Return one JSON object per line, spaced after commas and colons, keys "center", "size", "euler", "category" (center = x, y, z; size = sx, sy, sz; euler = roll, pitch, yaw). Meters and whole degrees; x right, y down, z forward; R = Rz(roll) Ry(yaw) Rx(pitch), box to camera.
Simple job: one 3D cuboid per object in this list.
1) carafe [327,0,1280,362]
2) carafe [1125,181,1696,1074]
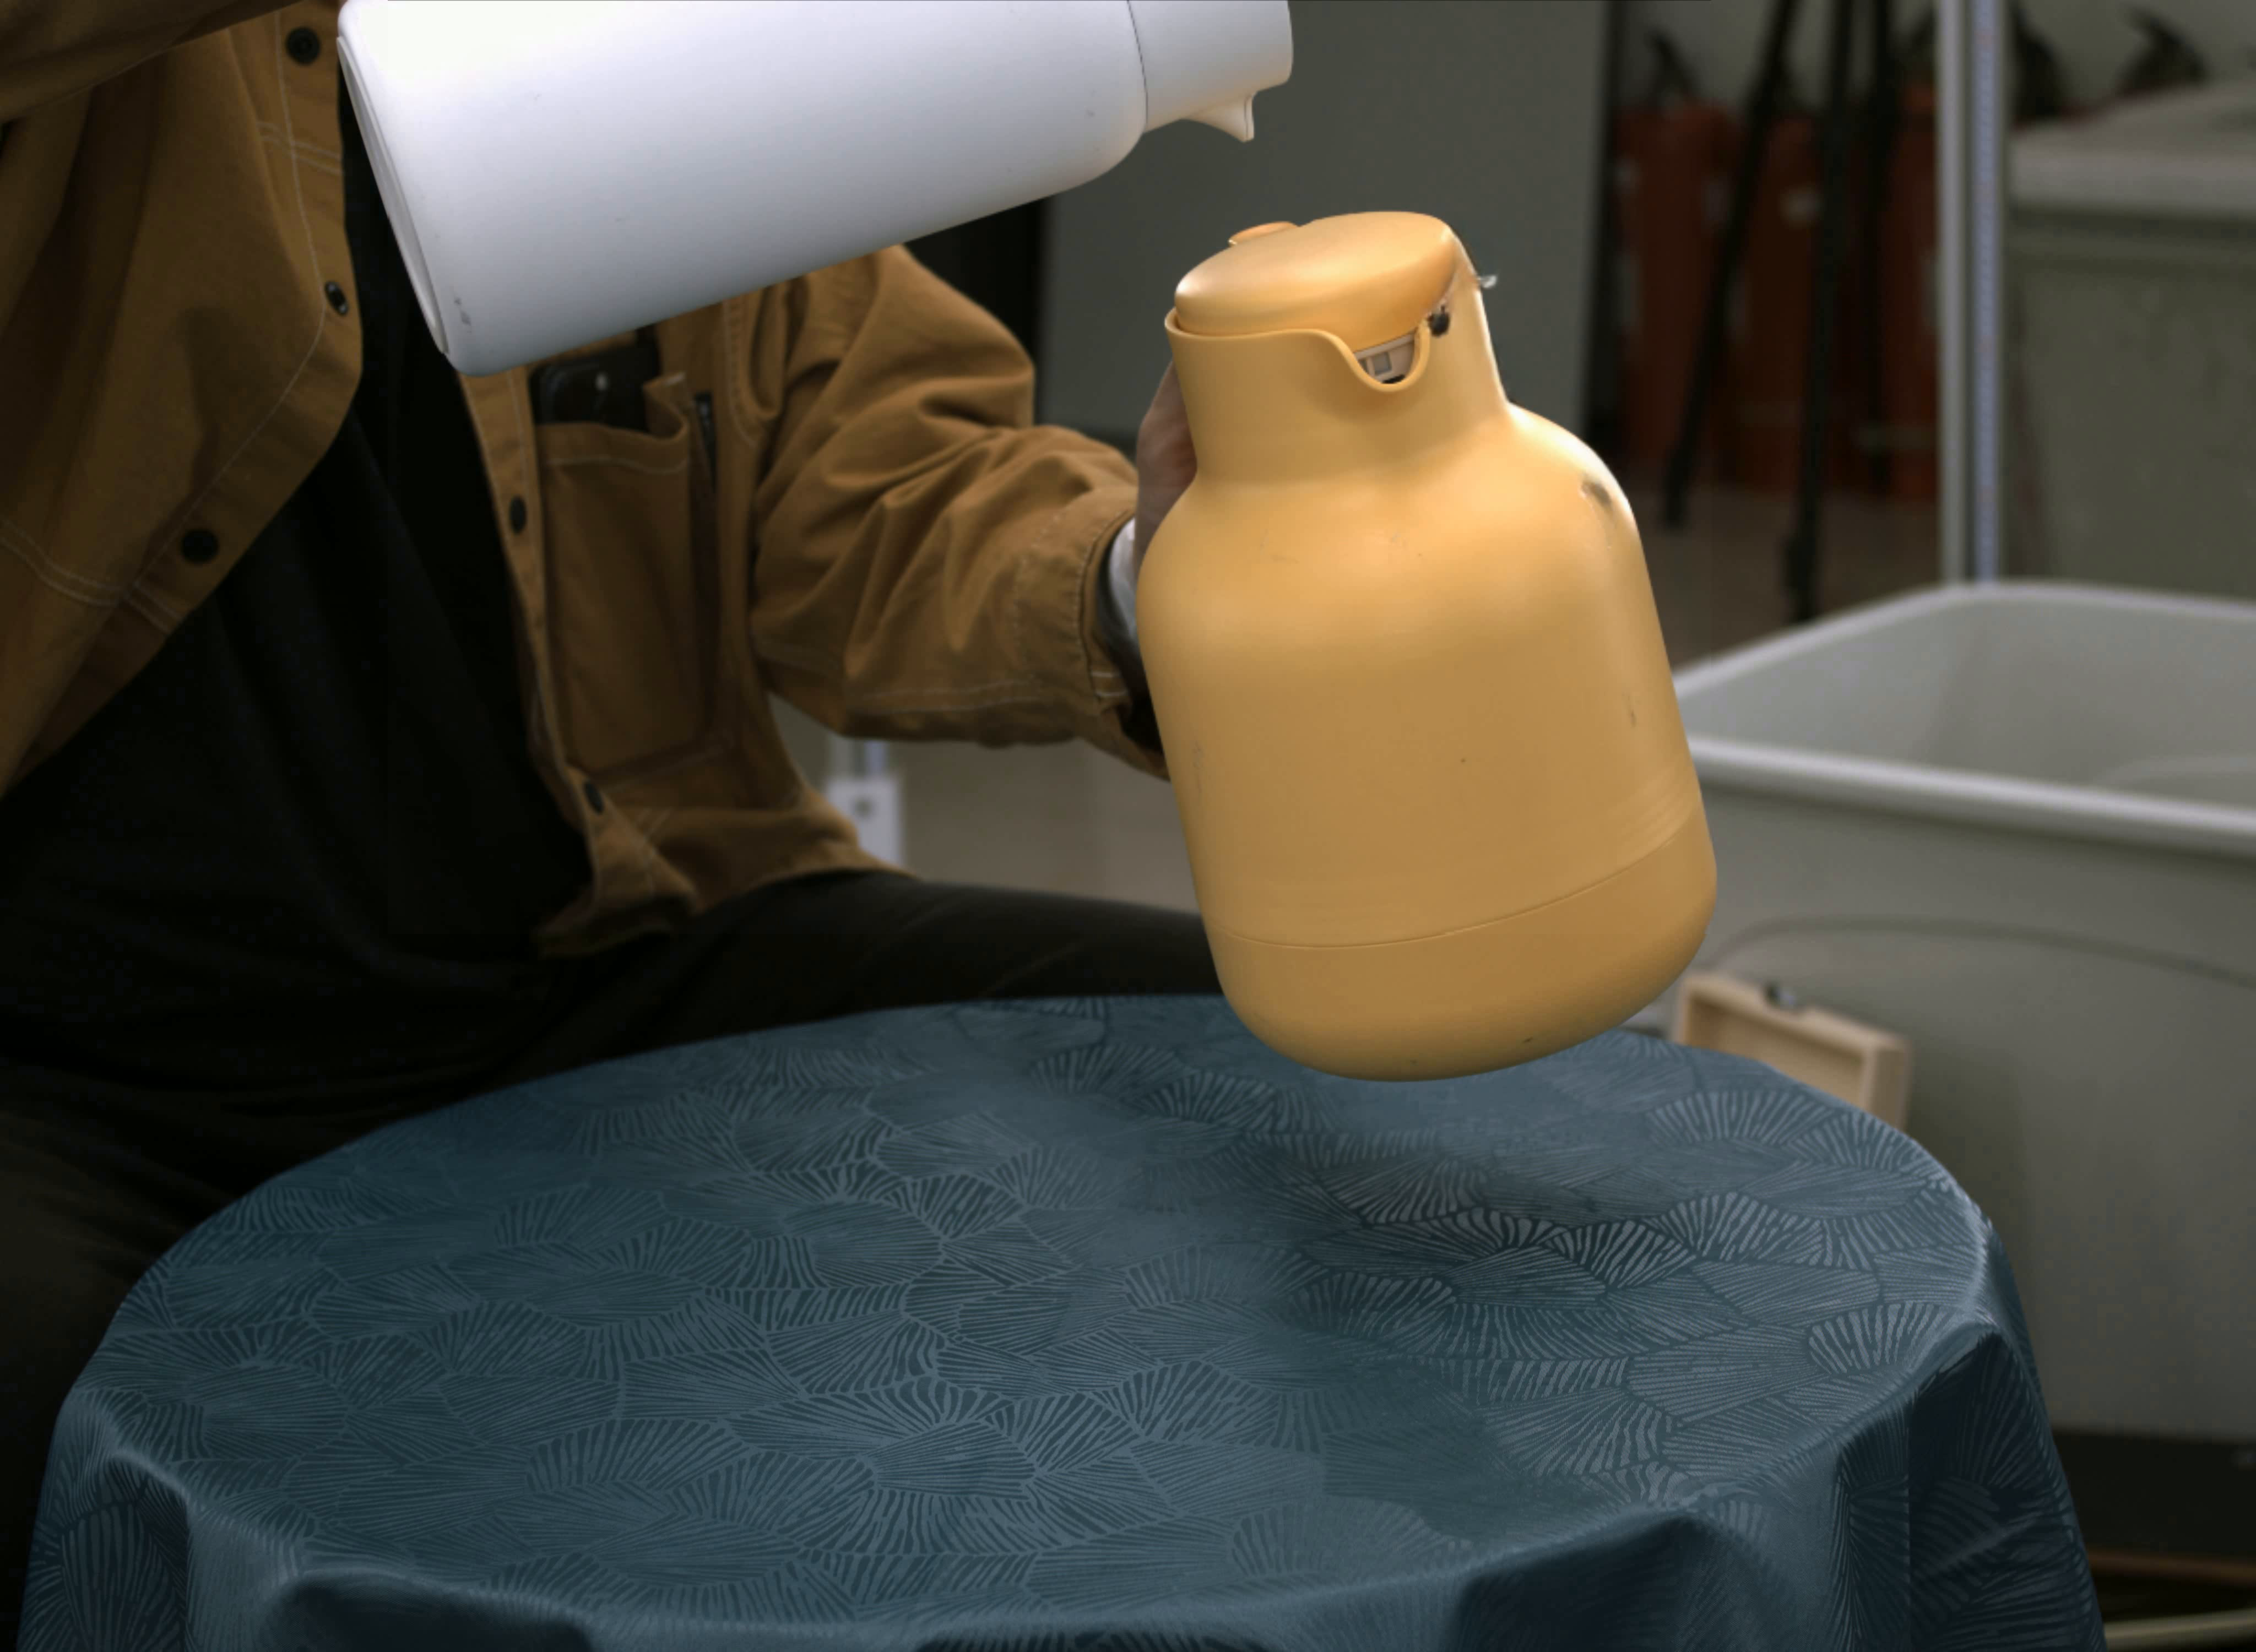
{"center": [-0.097, -0.245, 1.577], "size": [0.265, 0.173, 0.125], "euler": [-19, 35, -5], "category": "carafe"}
{"center": [0.078, -0.071, 1.691], "size": [0.161, 0.262, 0.204], "euler": [-14, 19, -7], "category": "carafe"}
